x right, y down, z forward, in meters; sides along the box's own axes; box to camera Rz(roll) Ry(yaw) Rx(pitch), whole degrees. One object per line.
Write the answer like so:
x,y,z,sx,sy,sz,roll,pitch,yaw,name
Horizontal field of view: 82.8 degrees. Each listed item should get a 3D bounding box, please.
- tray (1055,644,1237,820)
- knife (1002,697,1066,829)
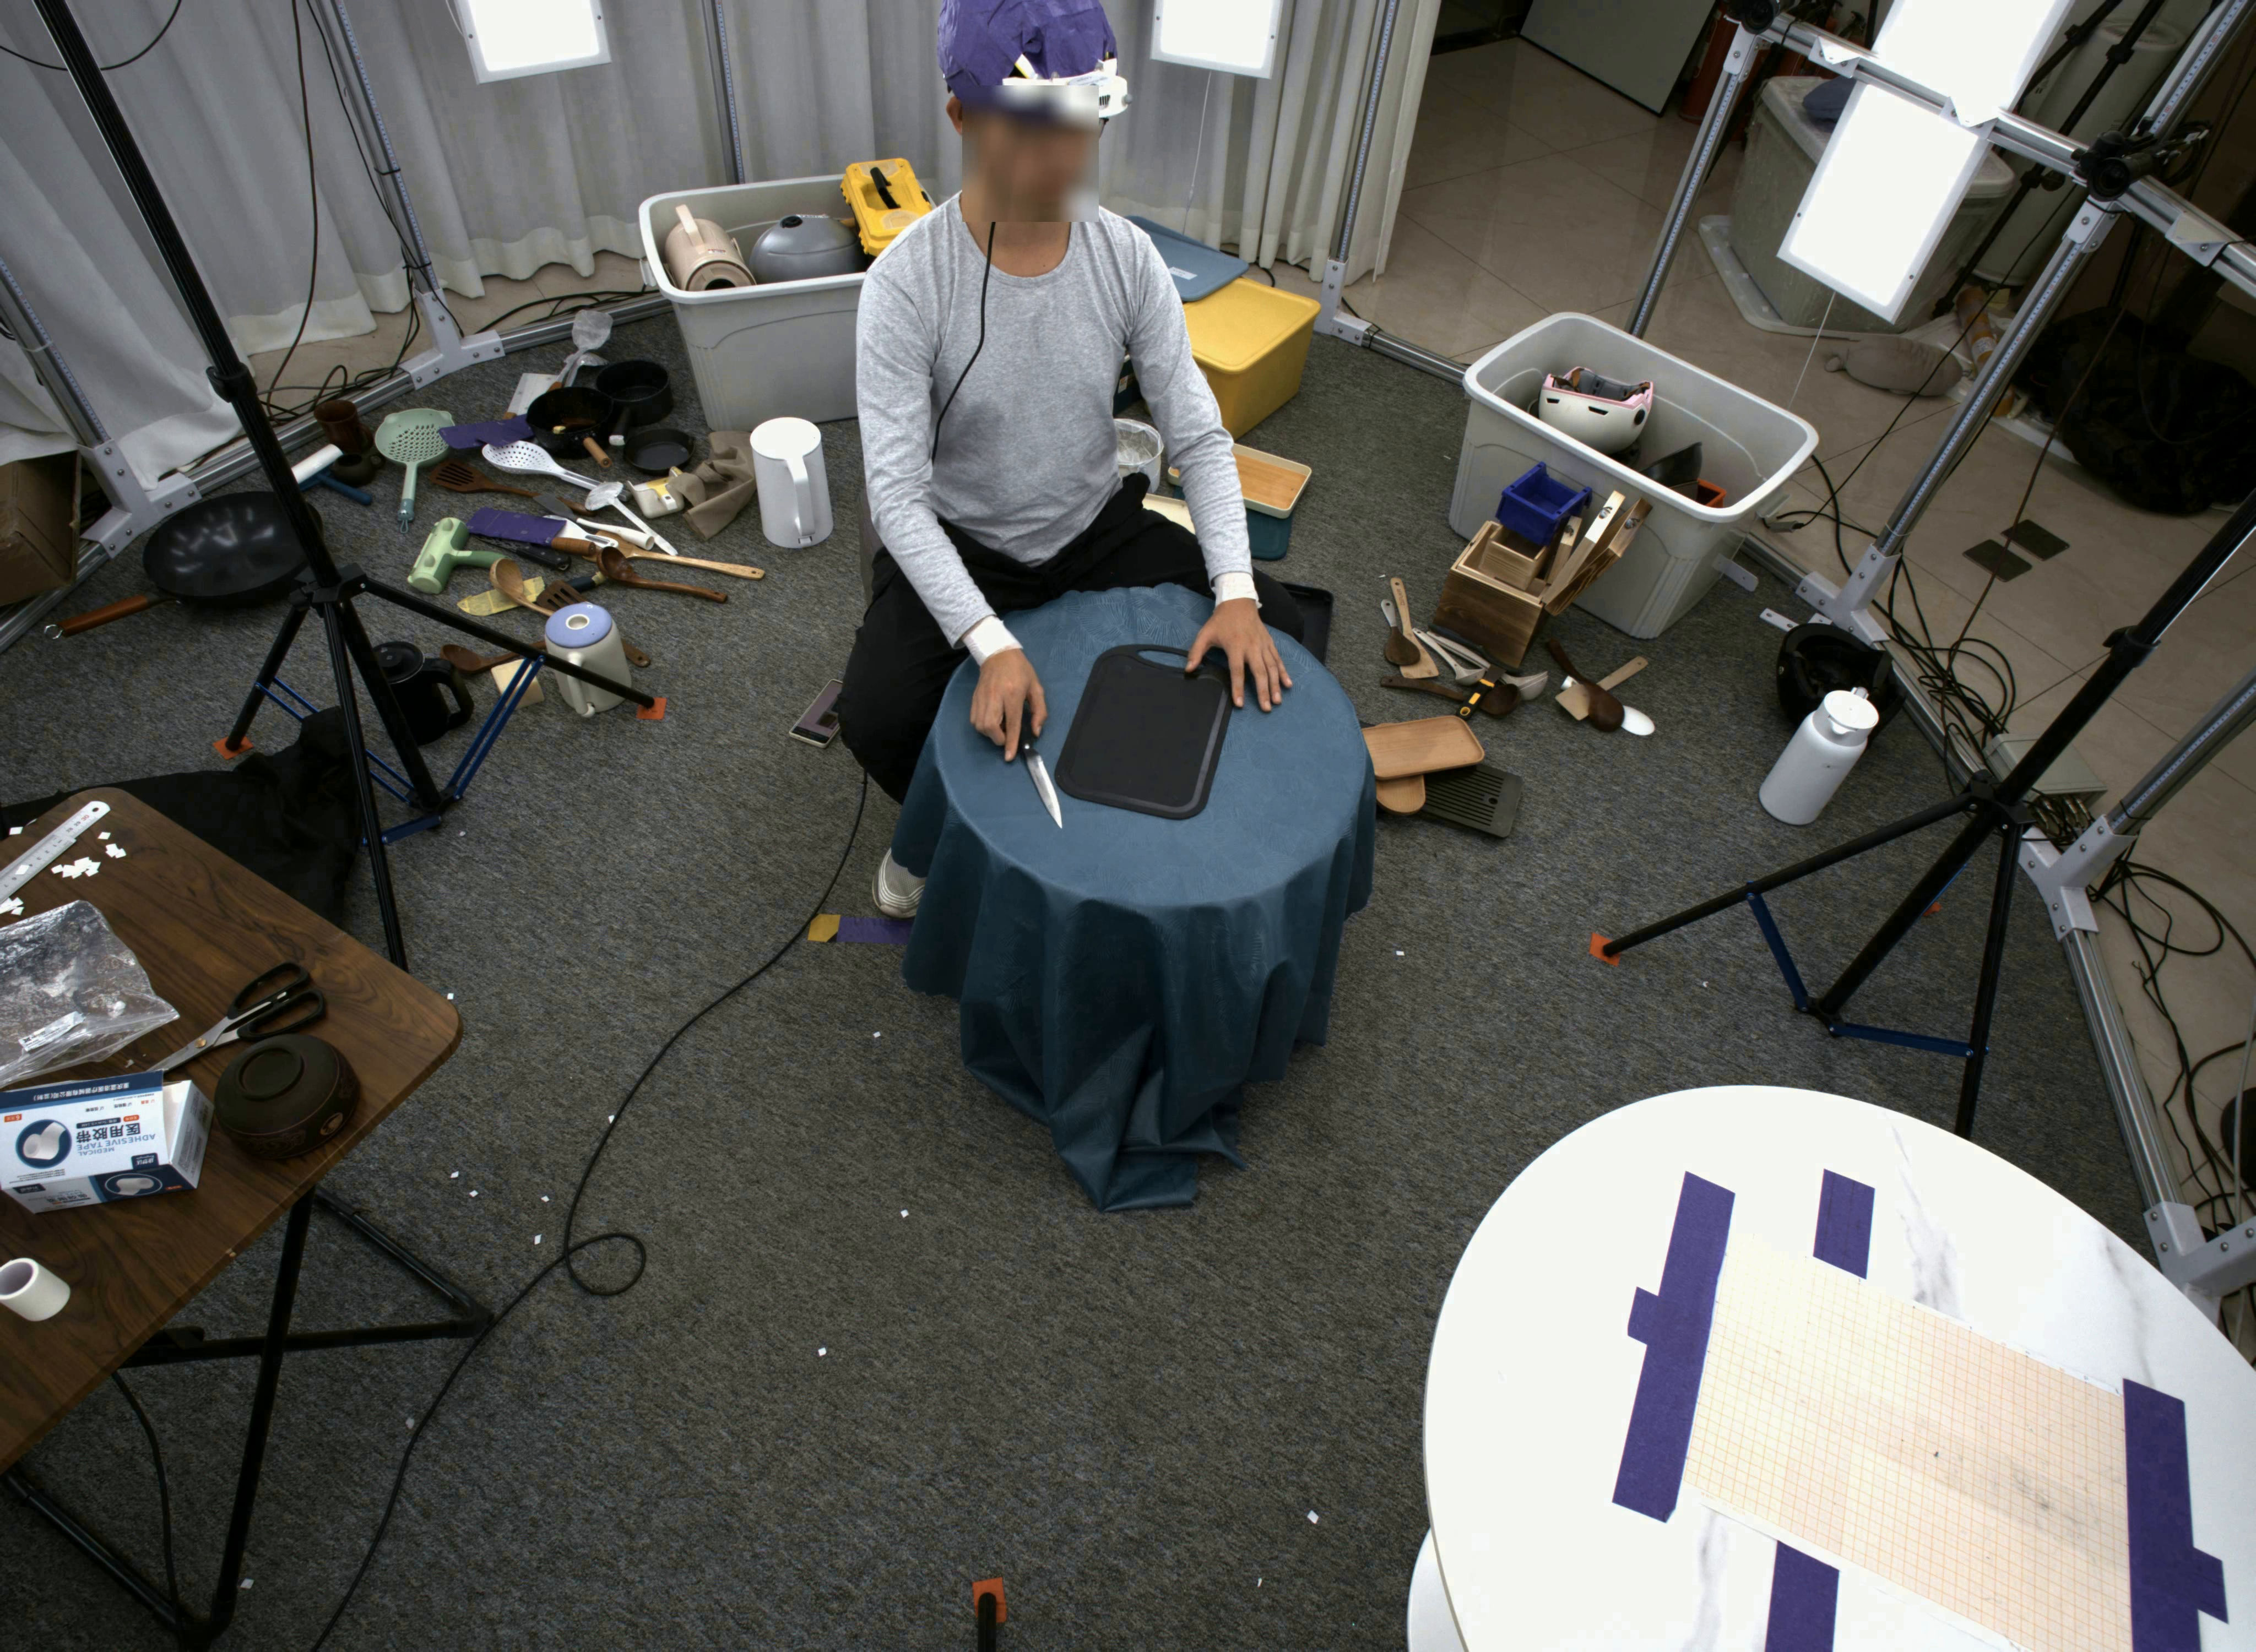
0.031,-0.144,1.791,0.211,0.009,0.332,13,49,7,tray
-0.127,-0.086,1.726,0.024,0.016,0.243,-16,55,-14,knife
